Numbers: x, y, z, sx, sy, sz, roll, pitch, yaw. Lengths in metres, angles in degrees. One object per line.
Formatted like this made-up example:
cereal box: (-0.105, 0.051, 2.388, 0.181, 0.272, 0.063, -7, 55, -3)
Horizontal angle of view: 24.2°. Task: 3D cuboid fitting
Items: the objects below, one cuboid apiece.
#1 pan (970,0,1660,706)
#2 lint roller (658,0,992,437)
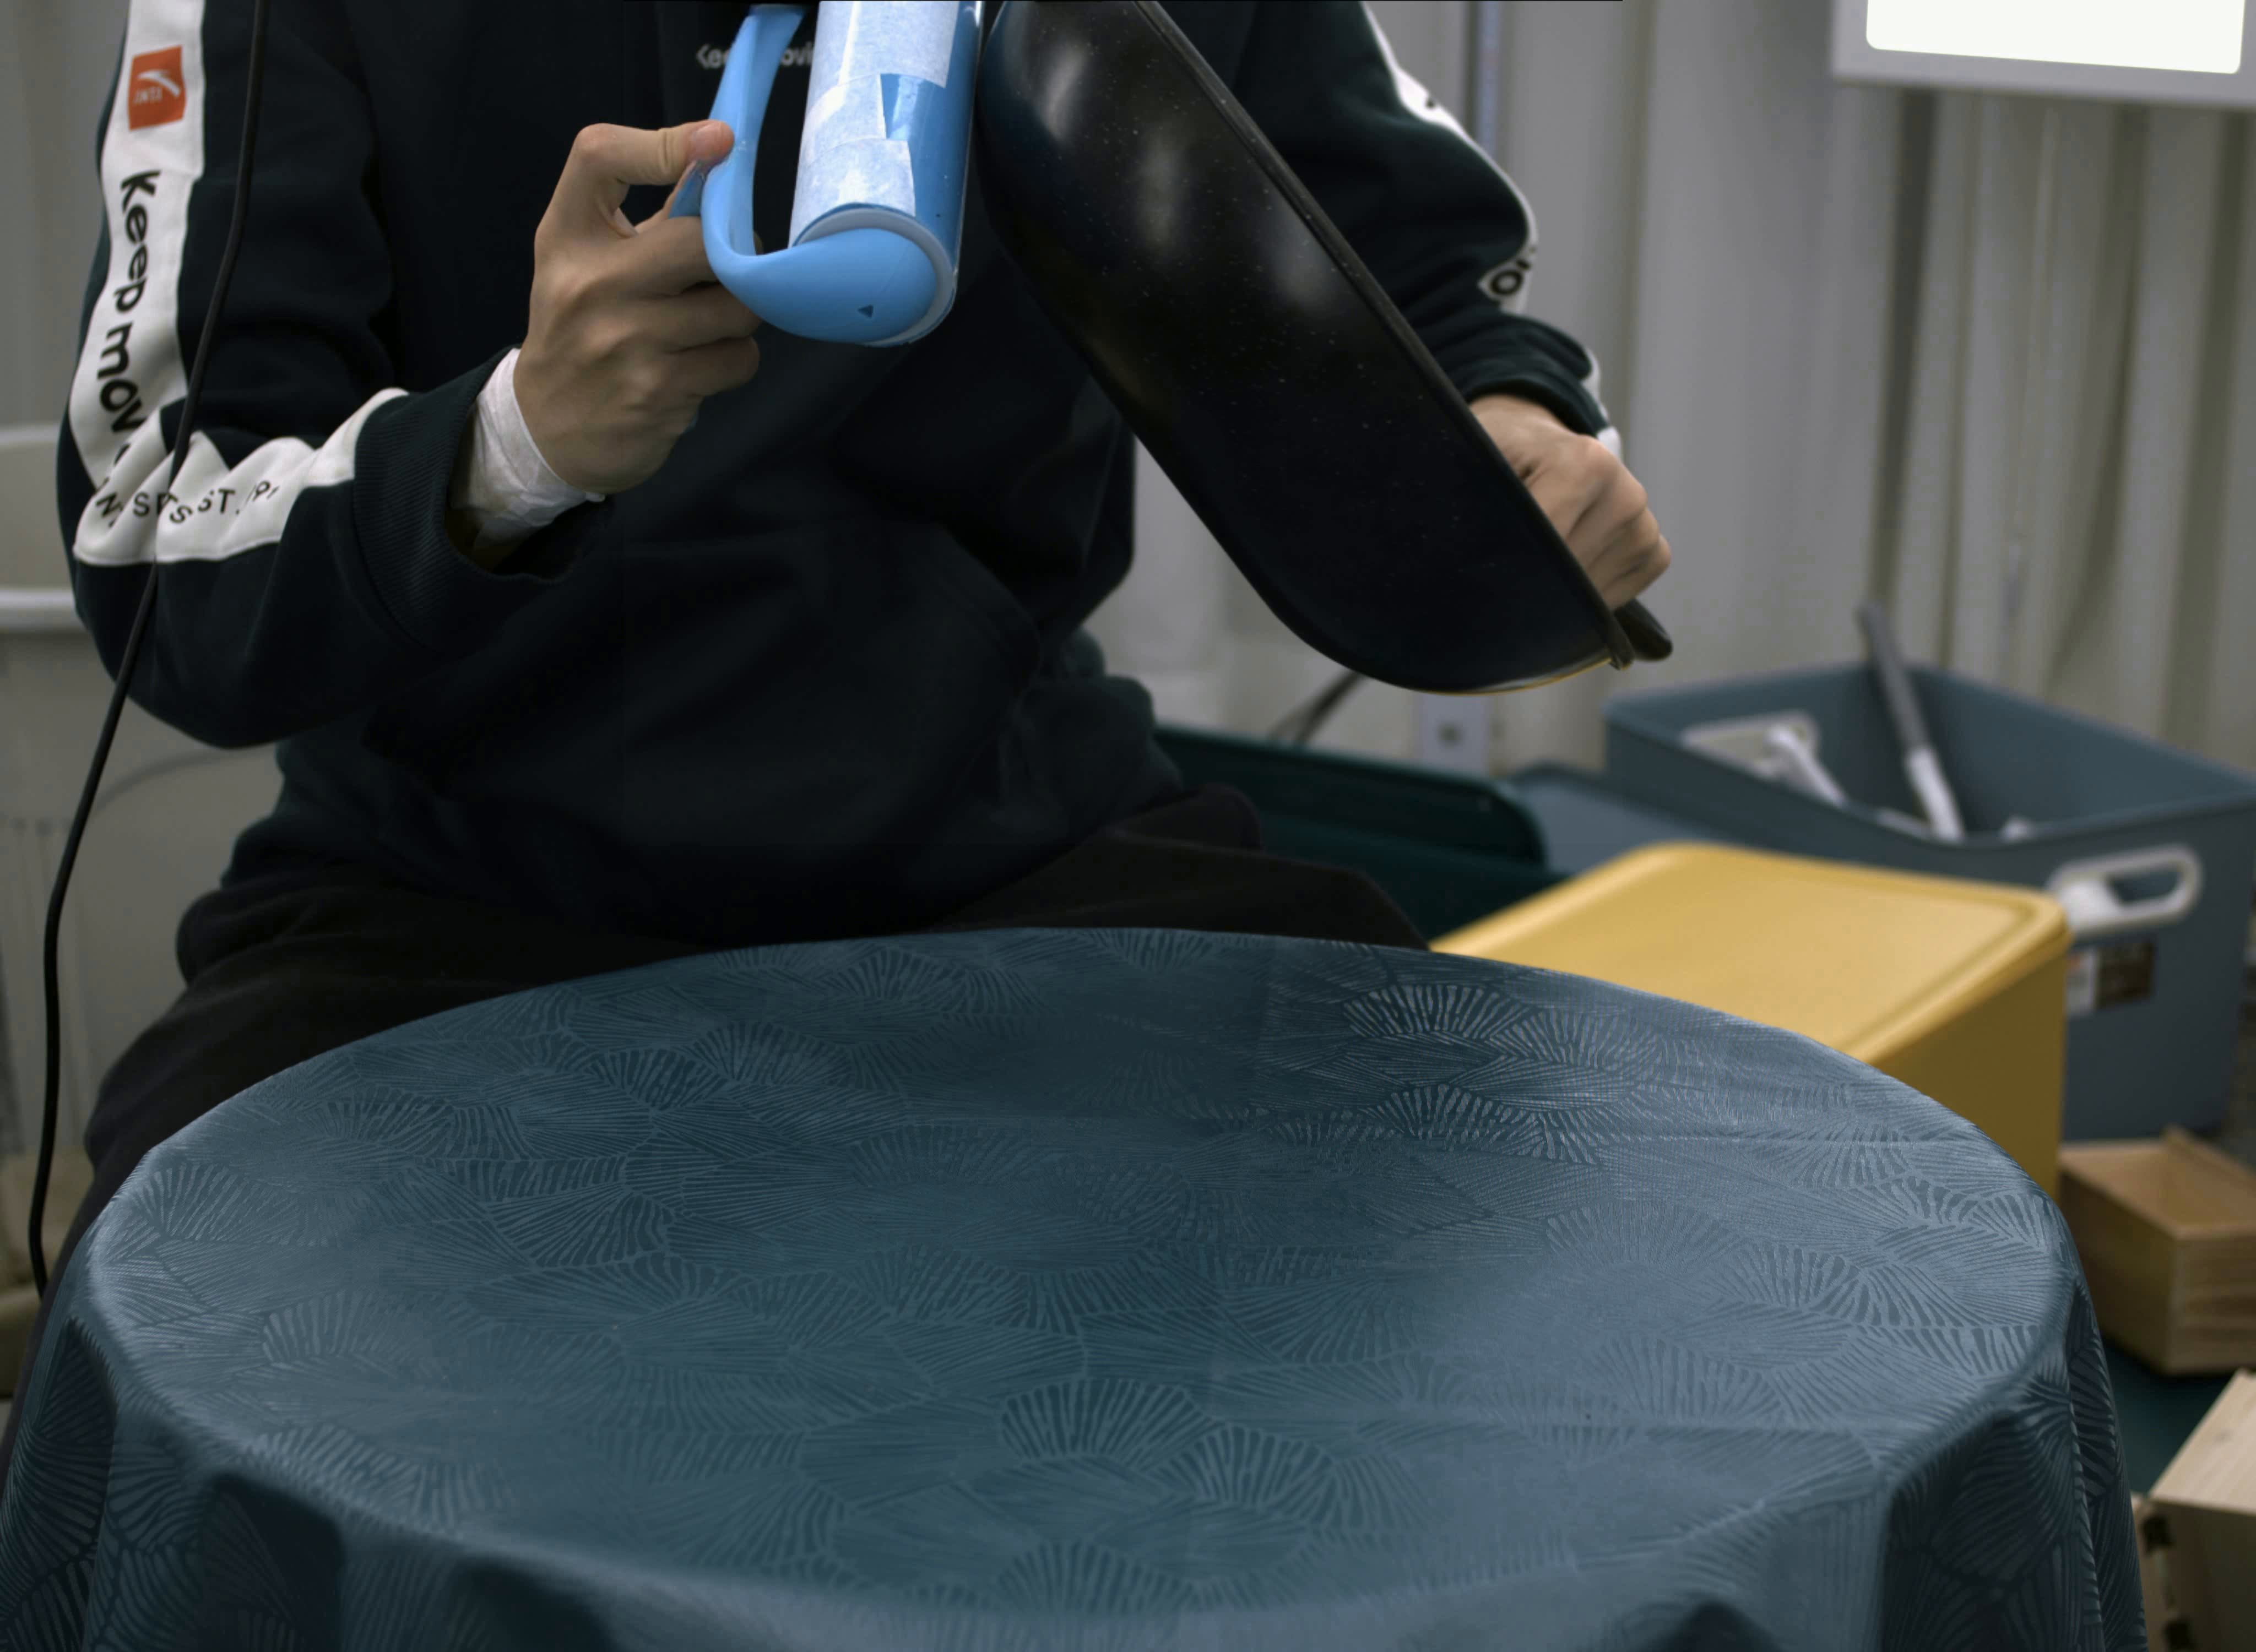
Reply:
pan: (0.073, -0.127, 1.778, 0.307, 0.111, 0.482, 56, 4, 29)
lint roller: (-0.112, -0.199, 1.708, 0.068, 0.180, 0.227, 33, 31, -26)
